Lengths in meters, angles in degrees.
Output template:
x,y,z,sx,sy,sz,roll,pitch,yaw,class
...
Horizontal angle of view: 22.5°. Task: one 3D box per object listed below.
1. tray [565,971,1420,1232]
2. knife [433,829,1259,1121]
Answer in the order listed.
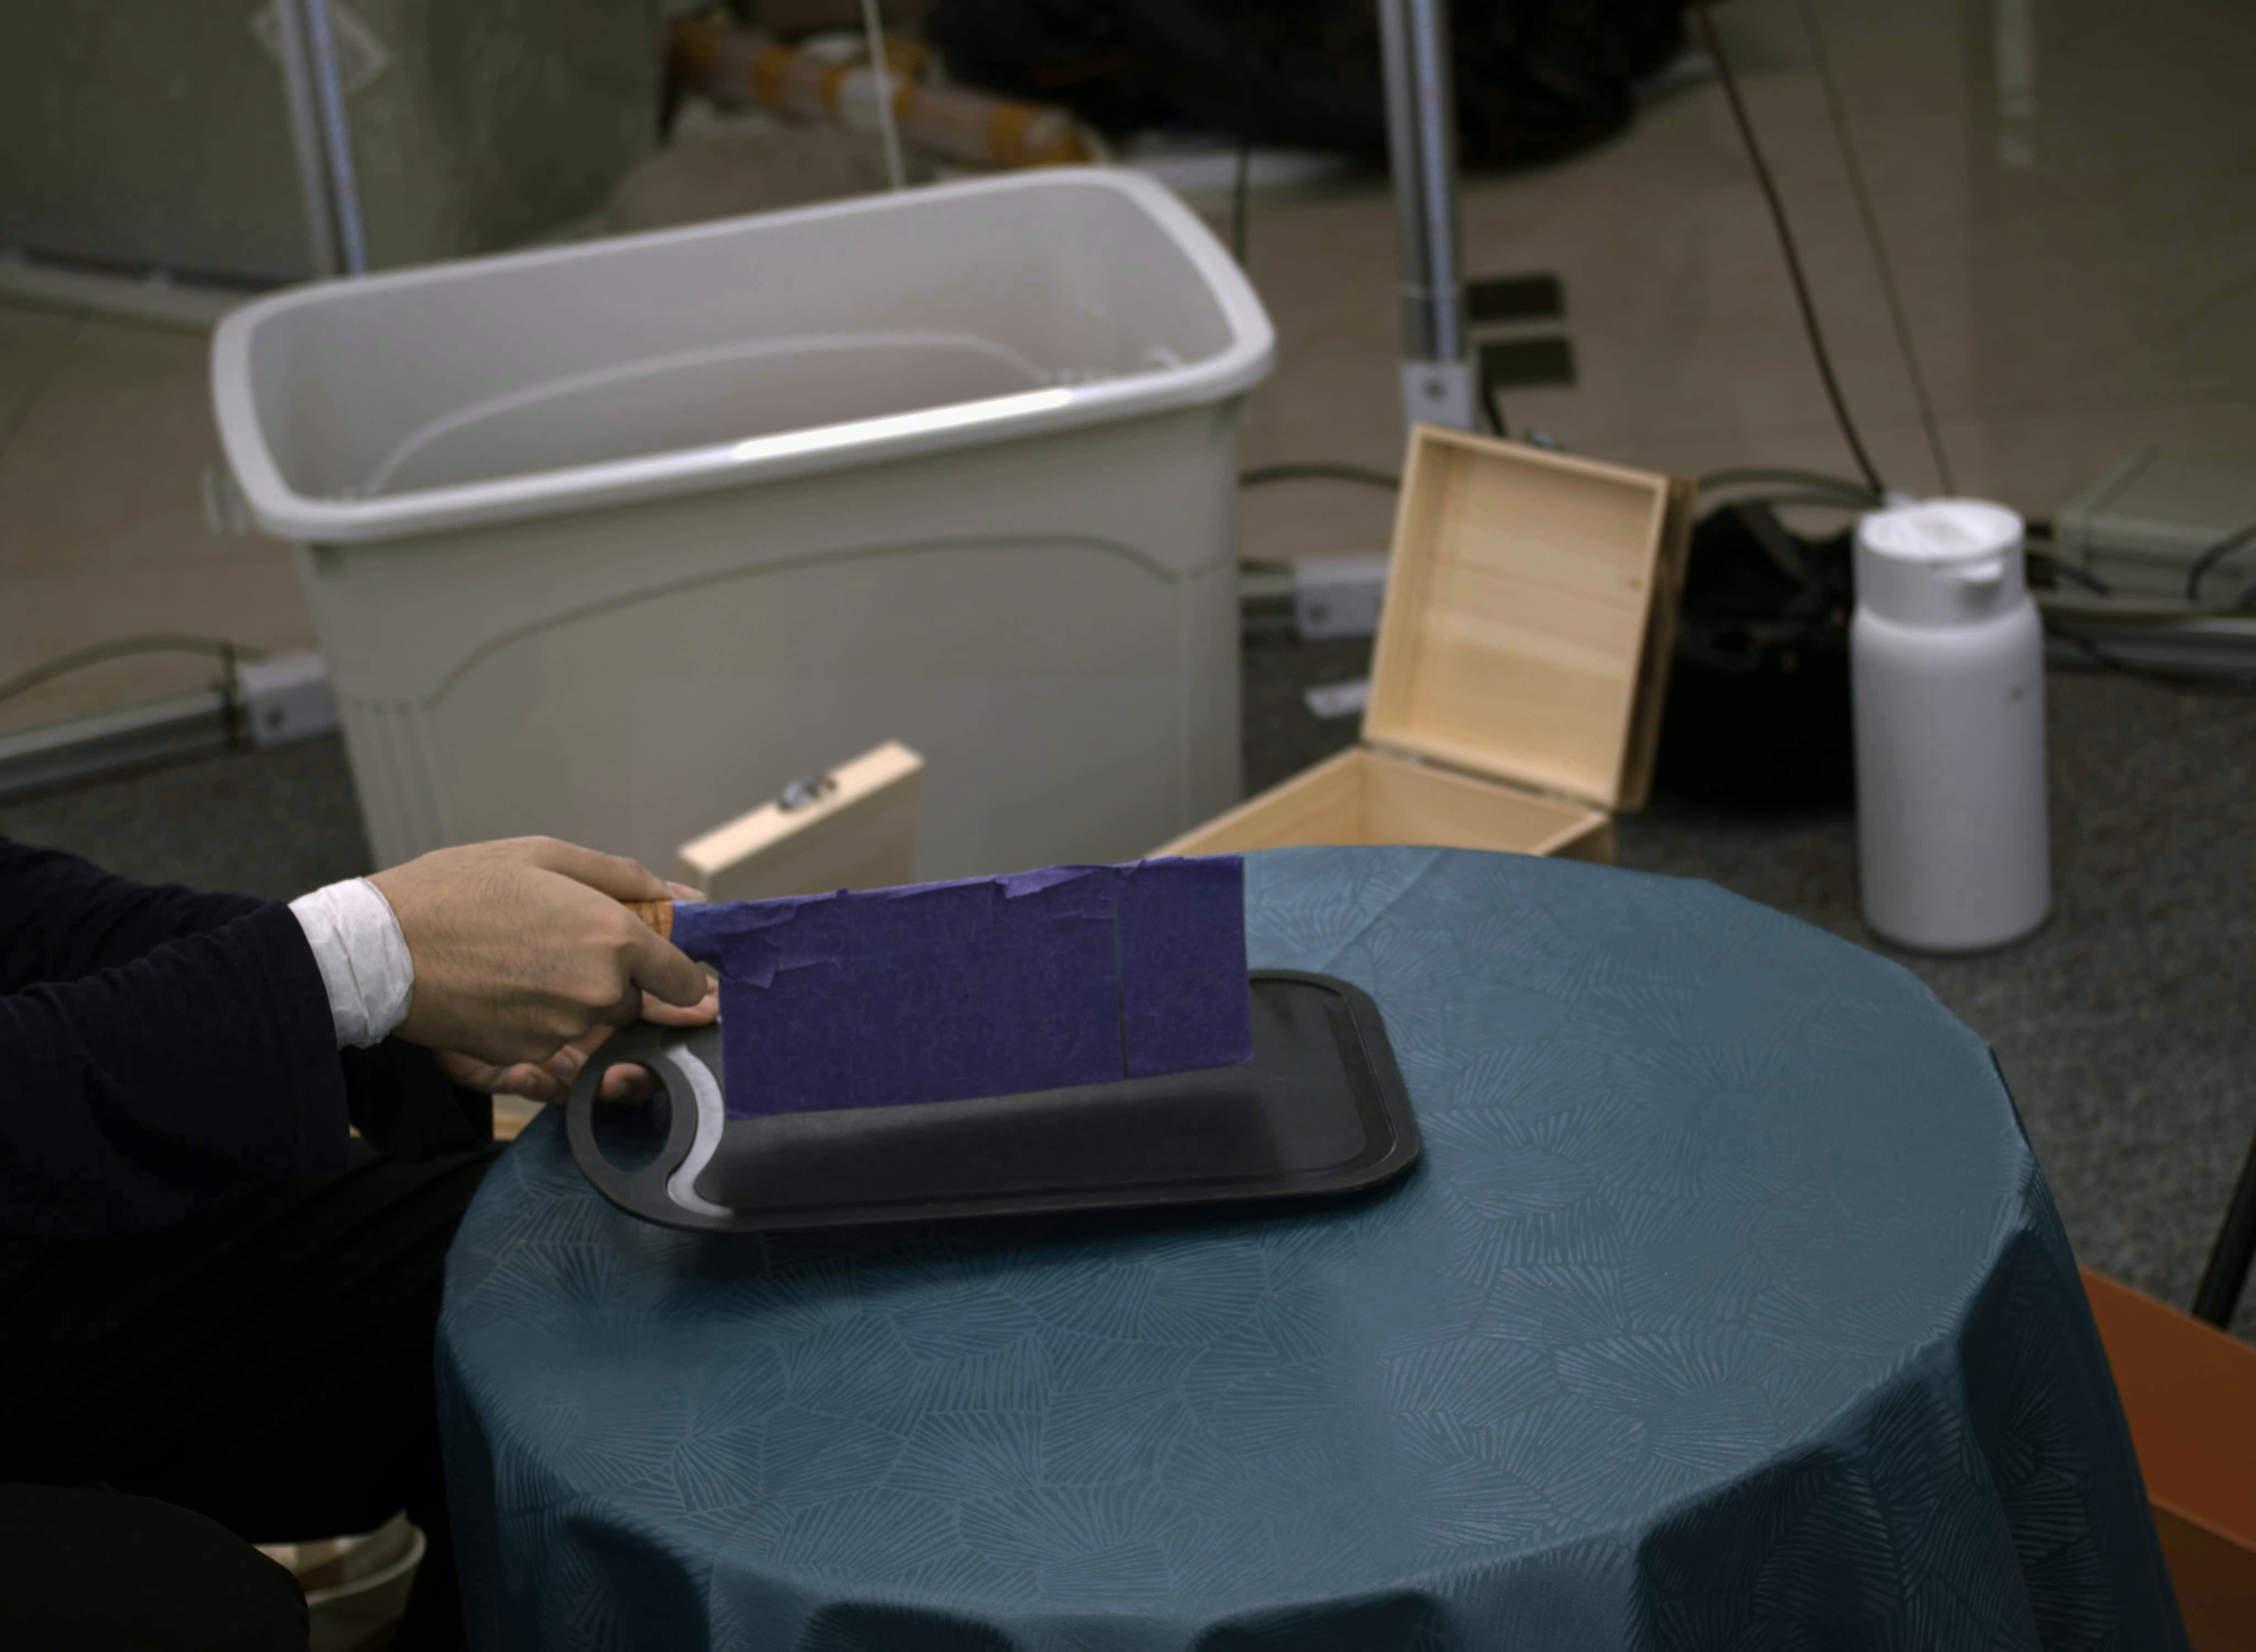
x,y,z,sx,sy,sz,roll,pitch,yaw,class
-0.055,0.104,2.196,0.325,0.010,0.208,-3,22,-4,tray
-0.104,0.066,2.156,0.314,0.105,0.032,-6,21,-9,knife
